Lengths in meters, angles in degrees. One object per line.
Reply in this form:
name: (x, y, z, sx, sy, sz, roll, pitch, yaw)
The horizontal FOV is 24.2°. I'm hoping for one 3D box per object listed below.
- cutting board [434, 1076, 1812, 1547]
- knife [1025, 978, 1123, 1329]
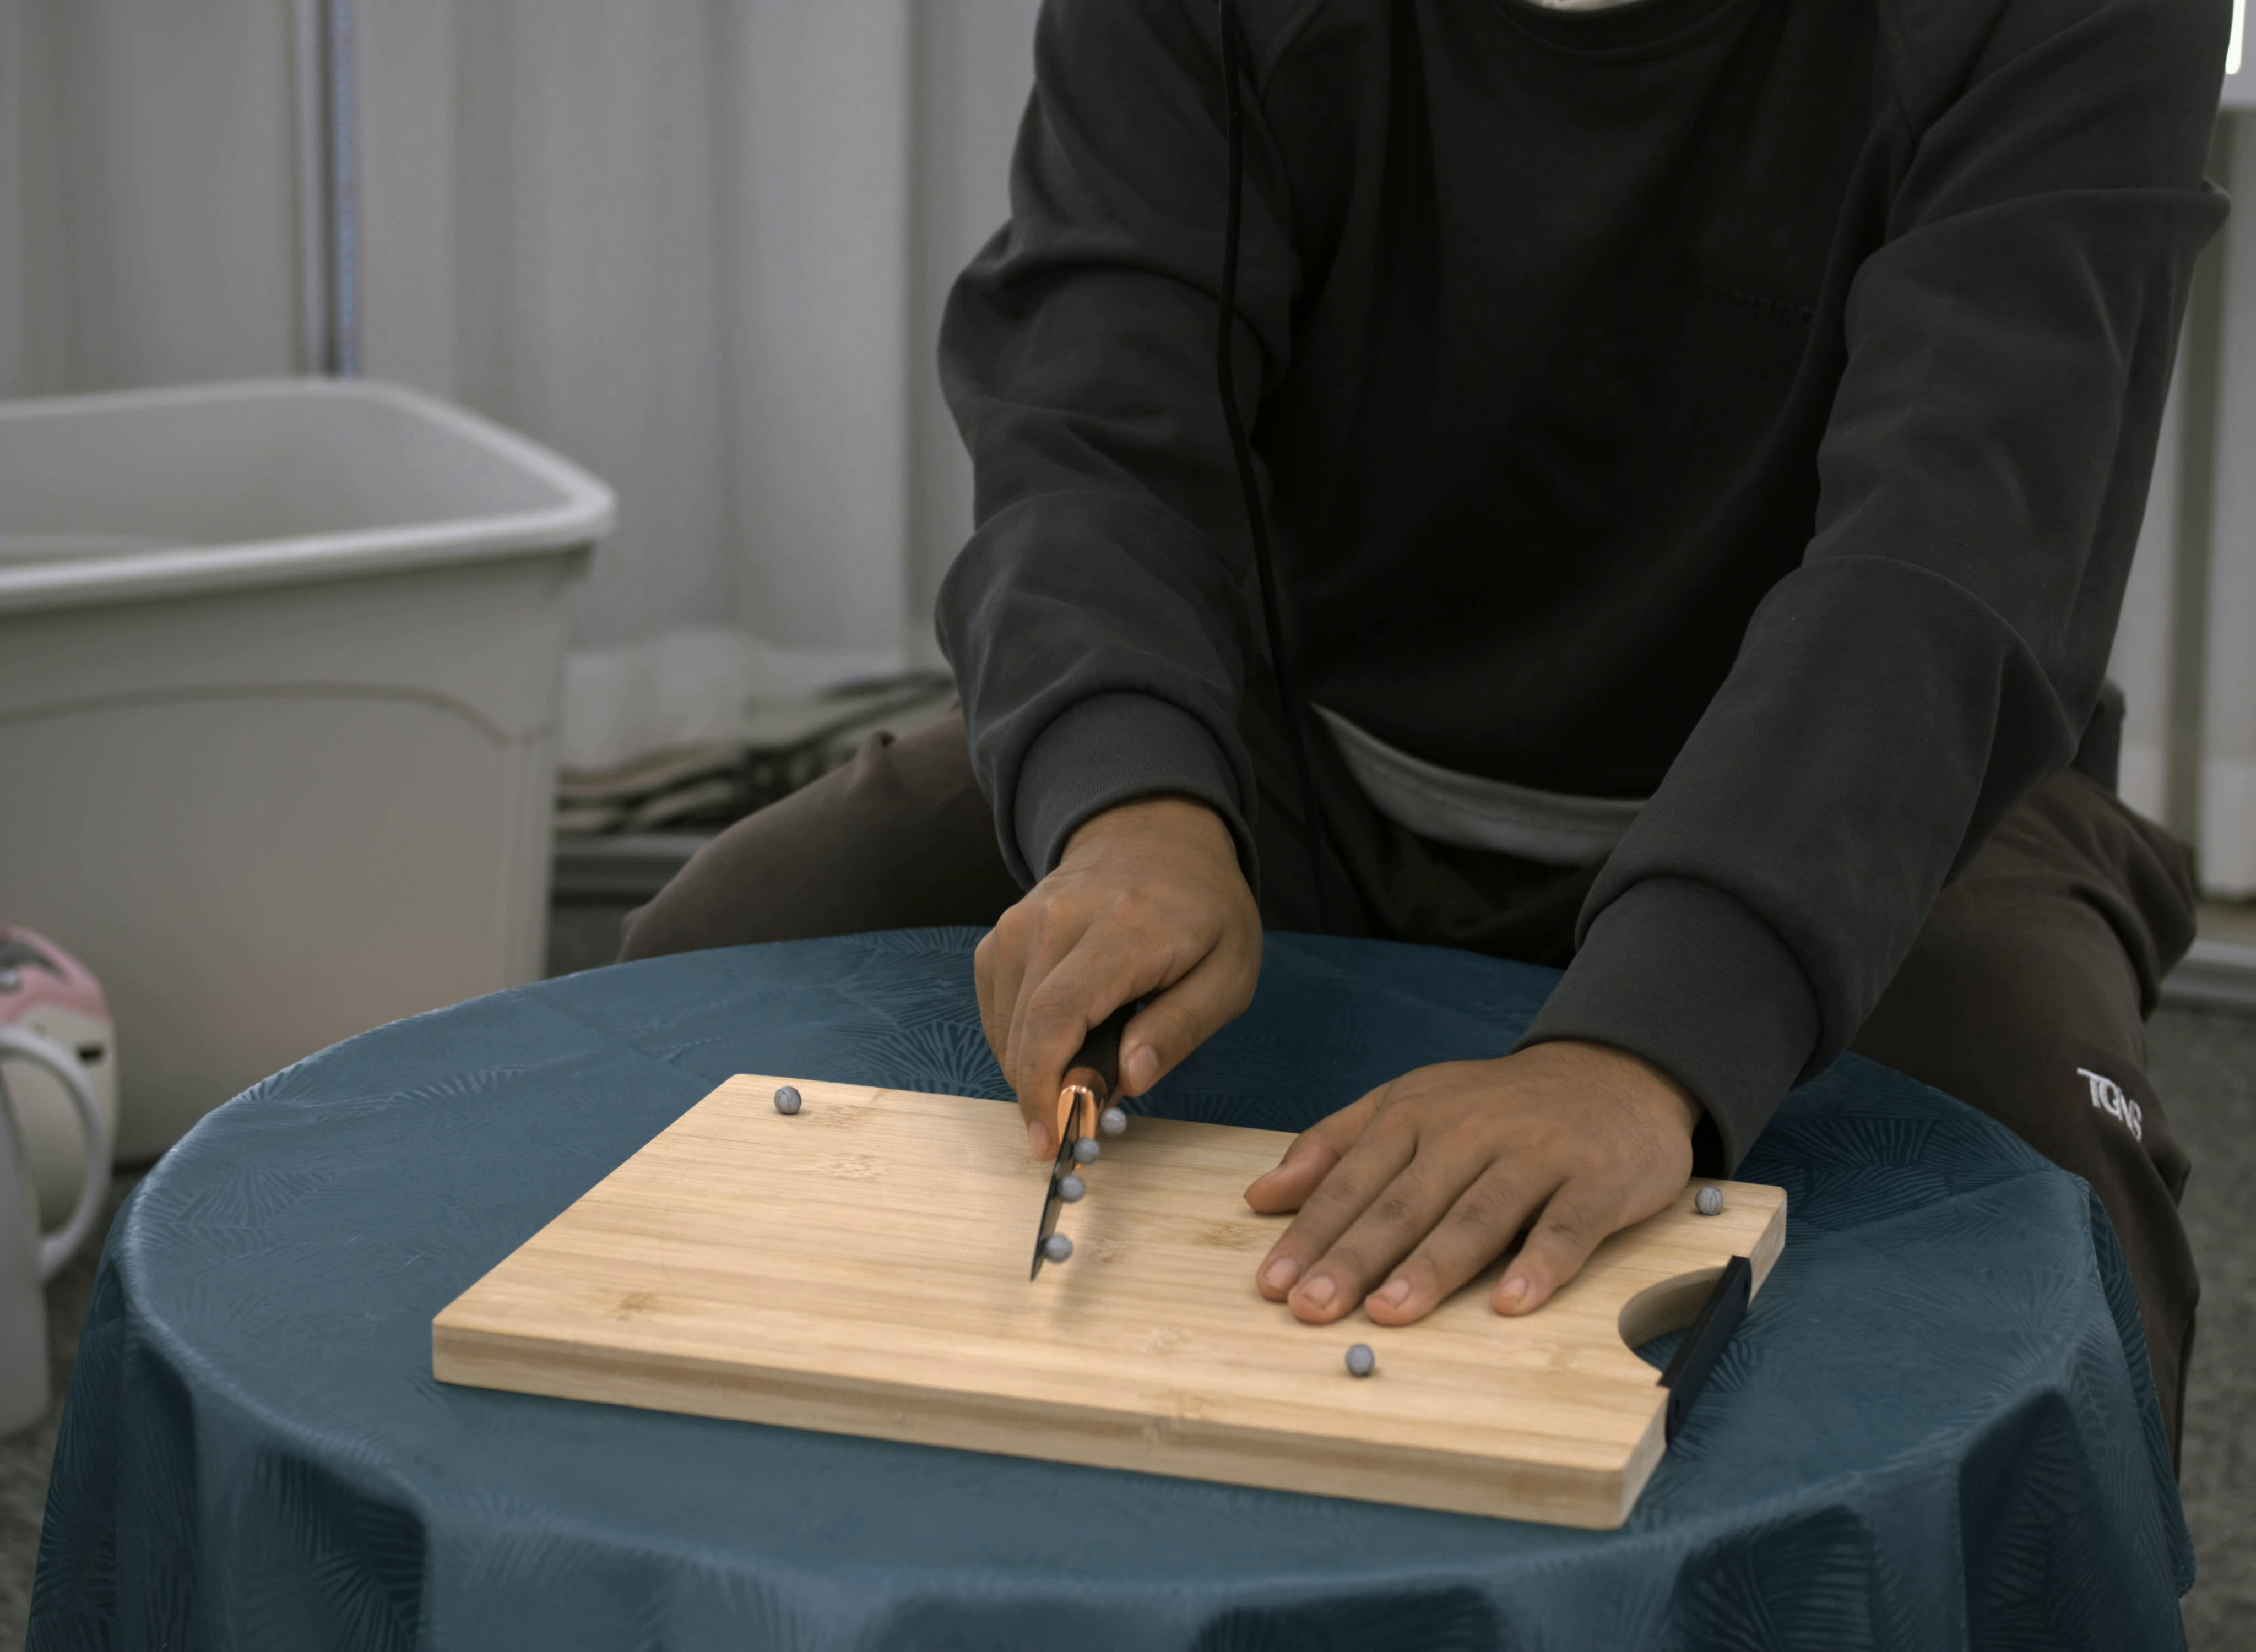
cutting board: (0.007, 0.133, 1.522, 0.346, 0.024, 0.250, 5, 16, 15)
knife: (-0.017, 0.093, 1.554, 0.017, 0.026, 0.224, 8, 20, 2)
